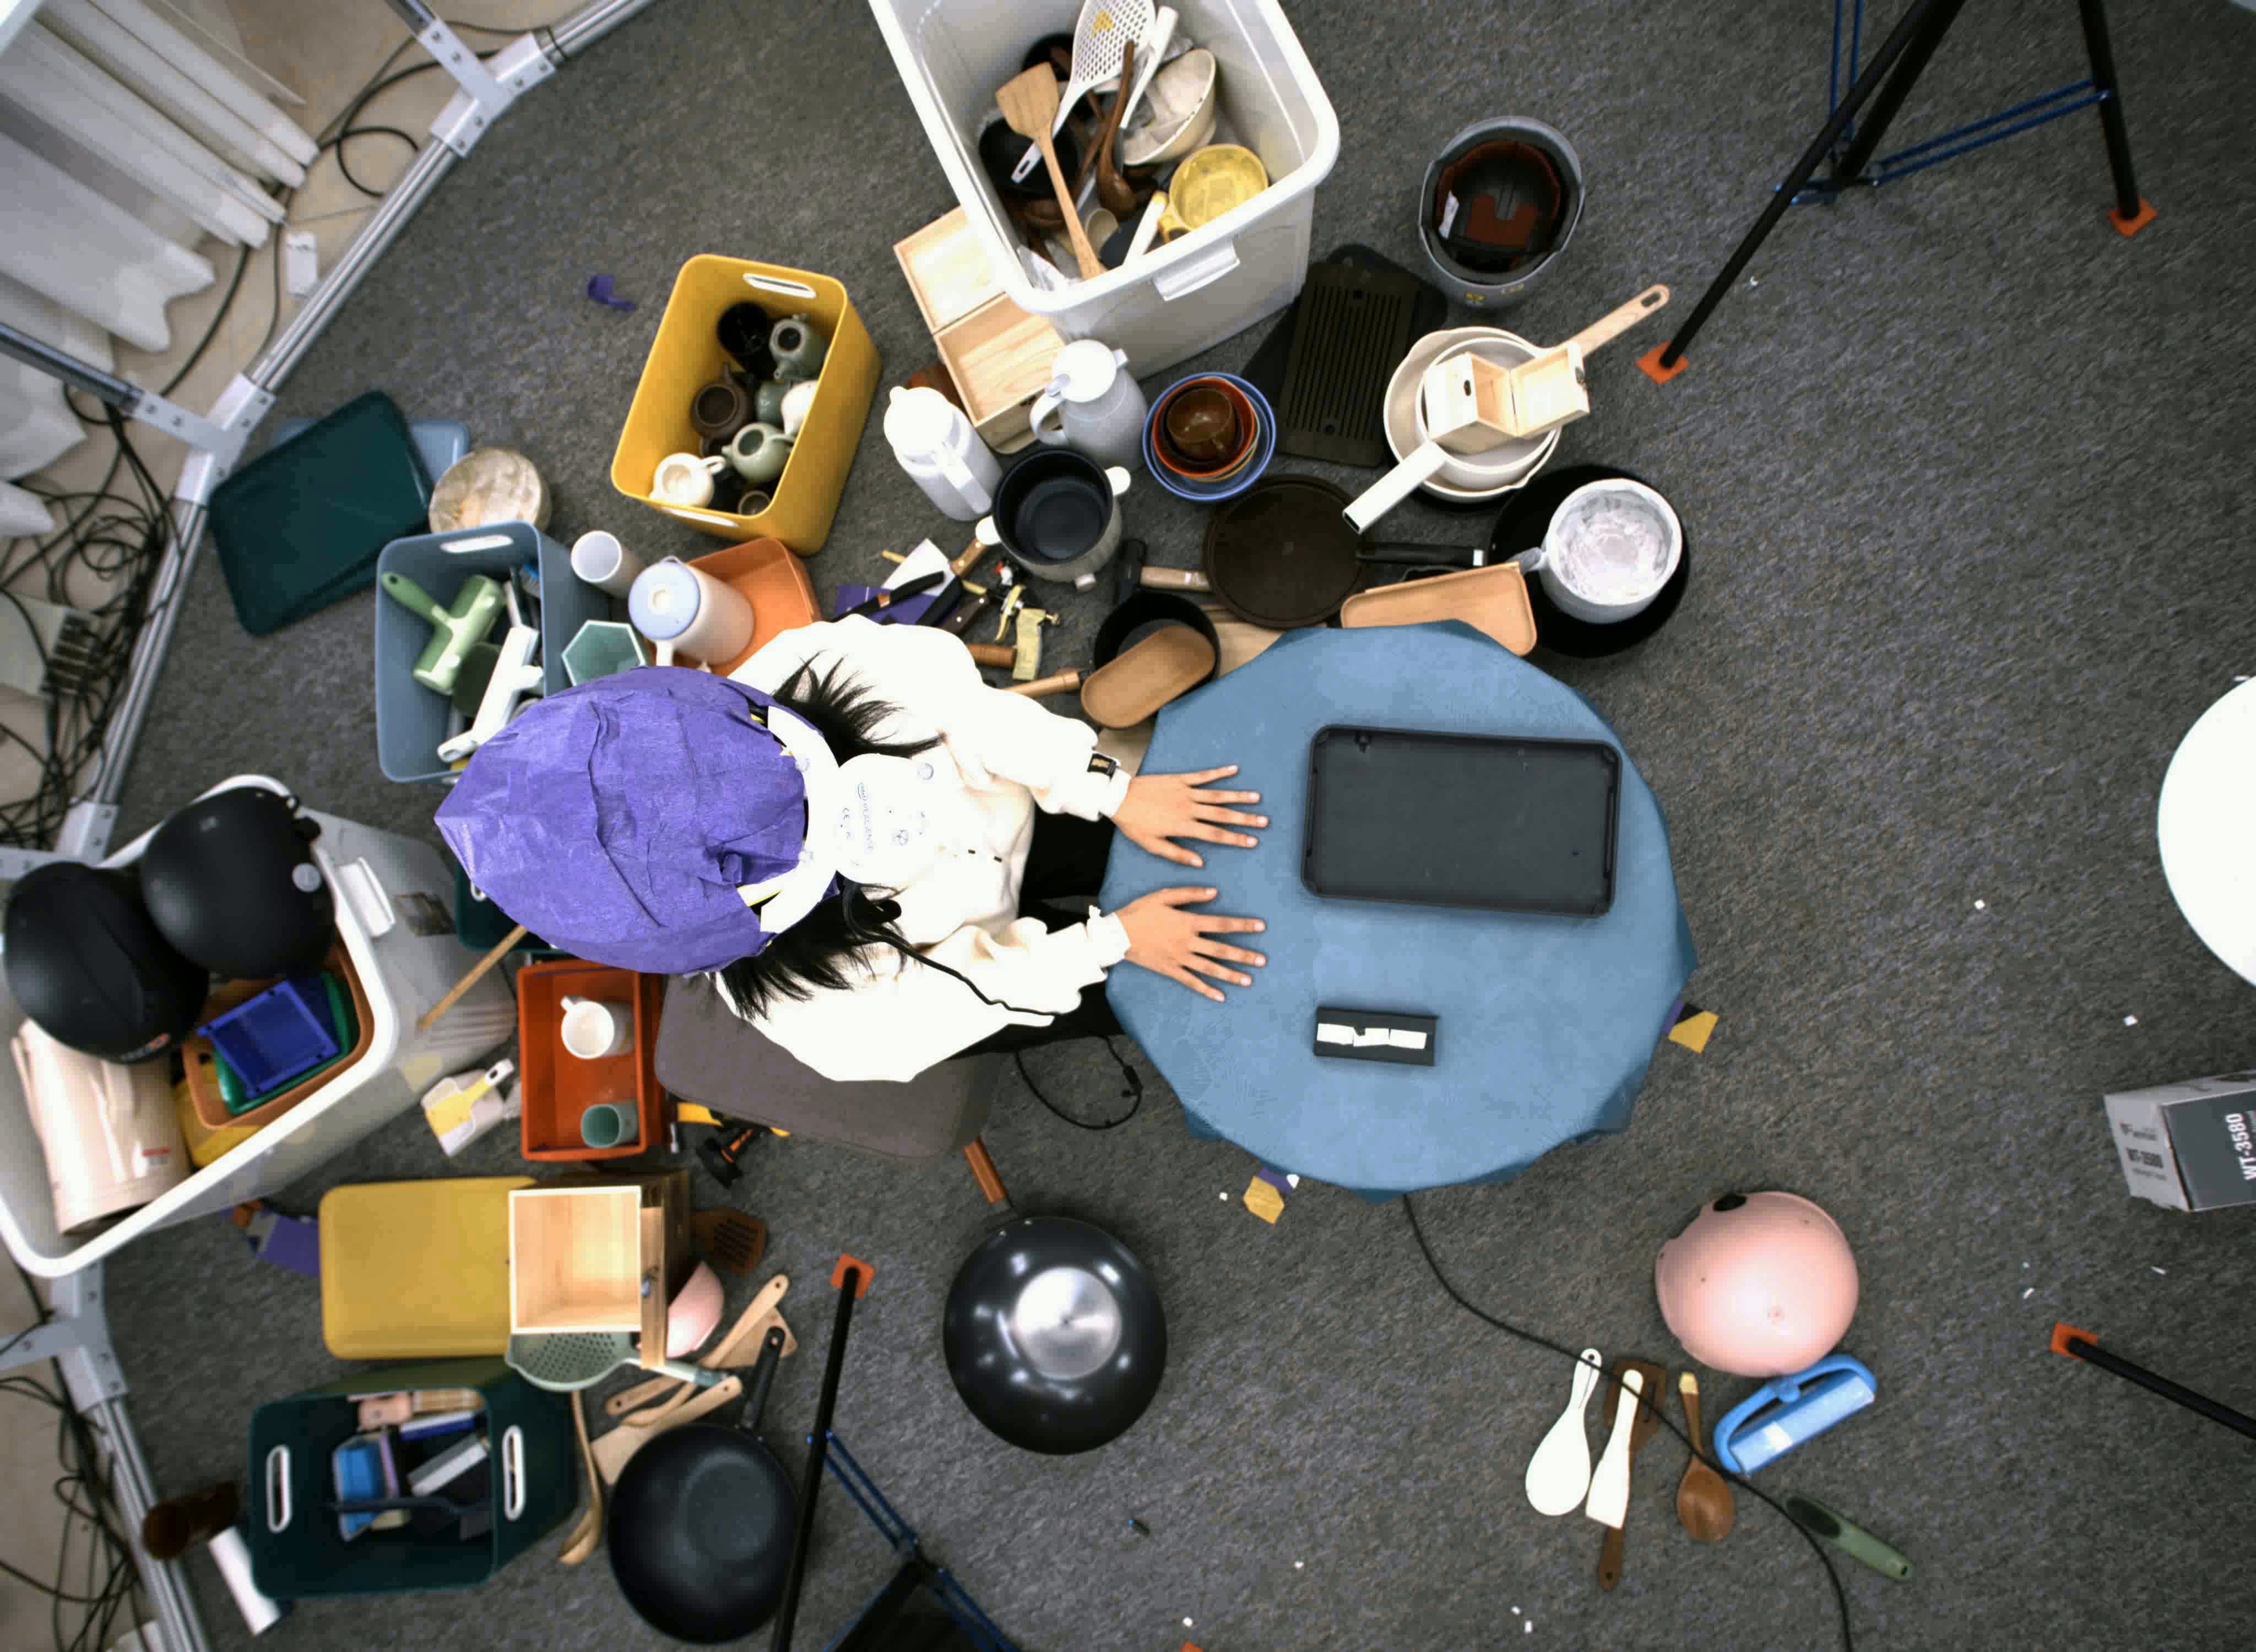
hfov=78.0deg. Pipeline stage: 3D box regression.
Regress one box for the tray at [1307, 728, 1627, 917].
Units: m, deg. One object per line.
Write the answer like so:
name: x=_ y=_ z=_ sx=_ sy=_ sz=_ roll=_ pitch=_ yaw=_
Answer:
tray: x=0.350 y=-0.006 z=1.430 sx=0.319 sy=0.037 sz=0.183 roll=2 pitch=87 yaw=11

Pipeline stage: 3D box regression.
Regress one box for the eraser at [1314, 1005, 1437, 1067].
eraser: x=0.259 y=0.217 z=1.440 sx=0.126 sy=0.030 sz=0.053 roll=3 pitch=82 yaw=11
